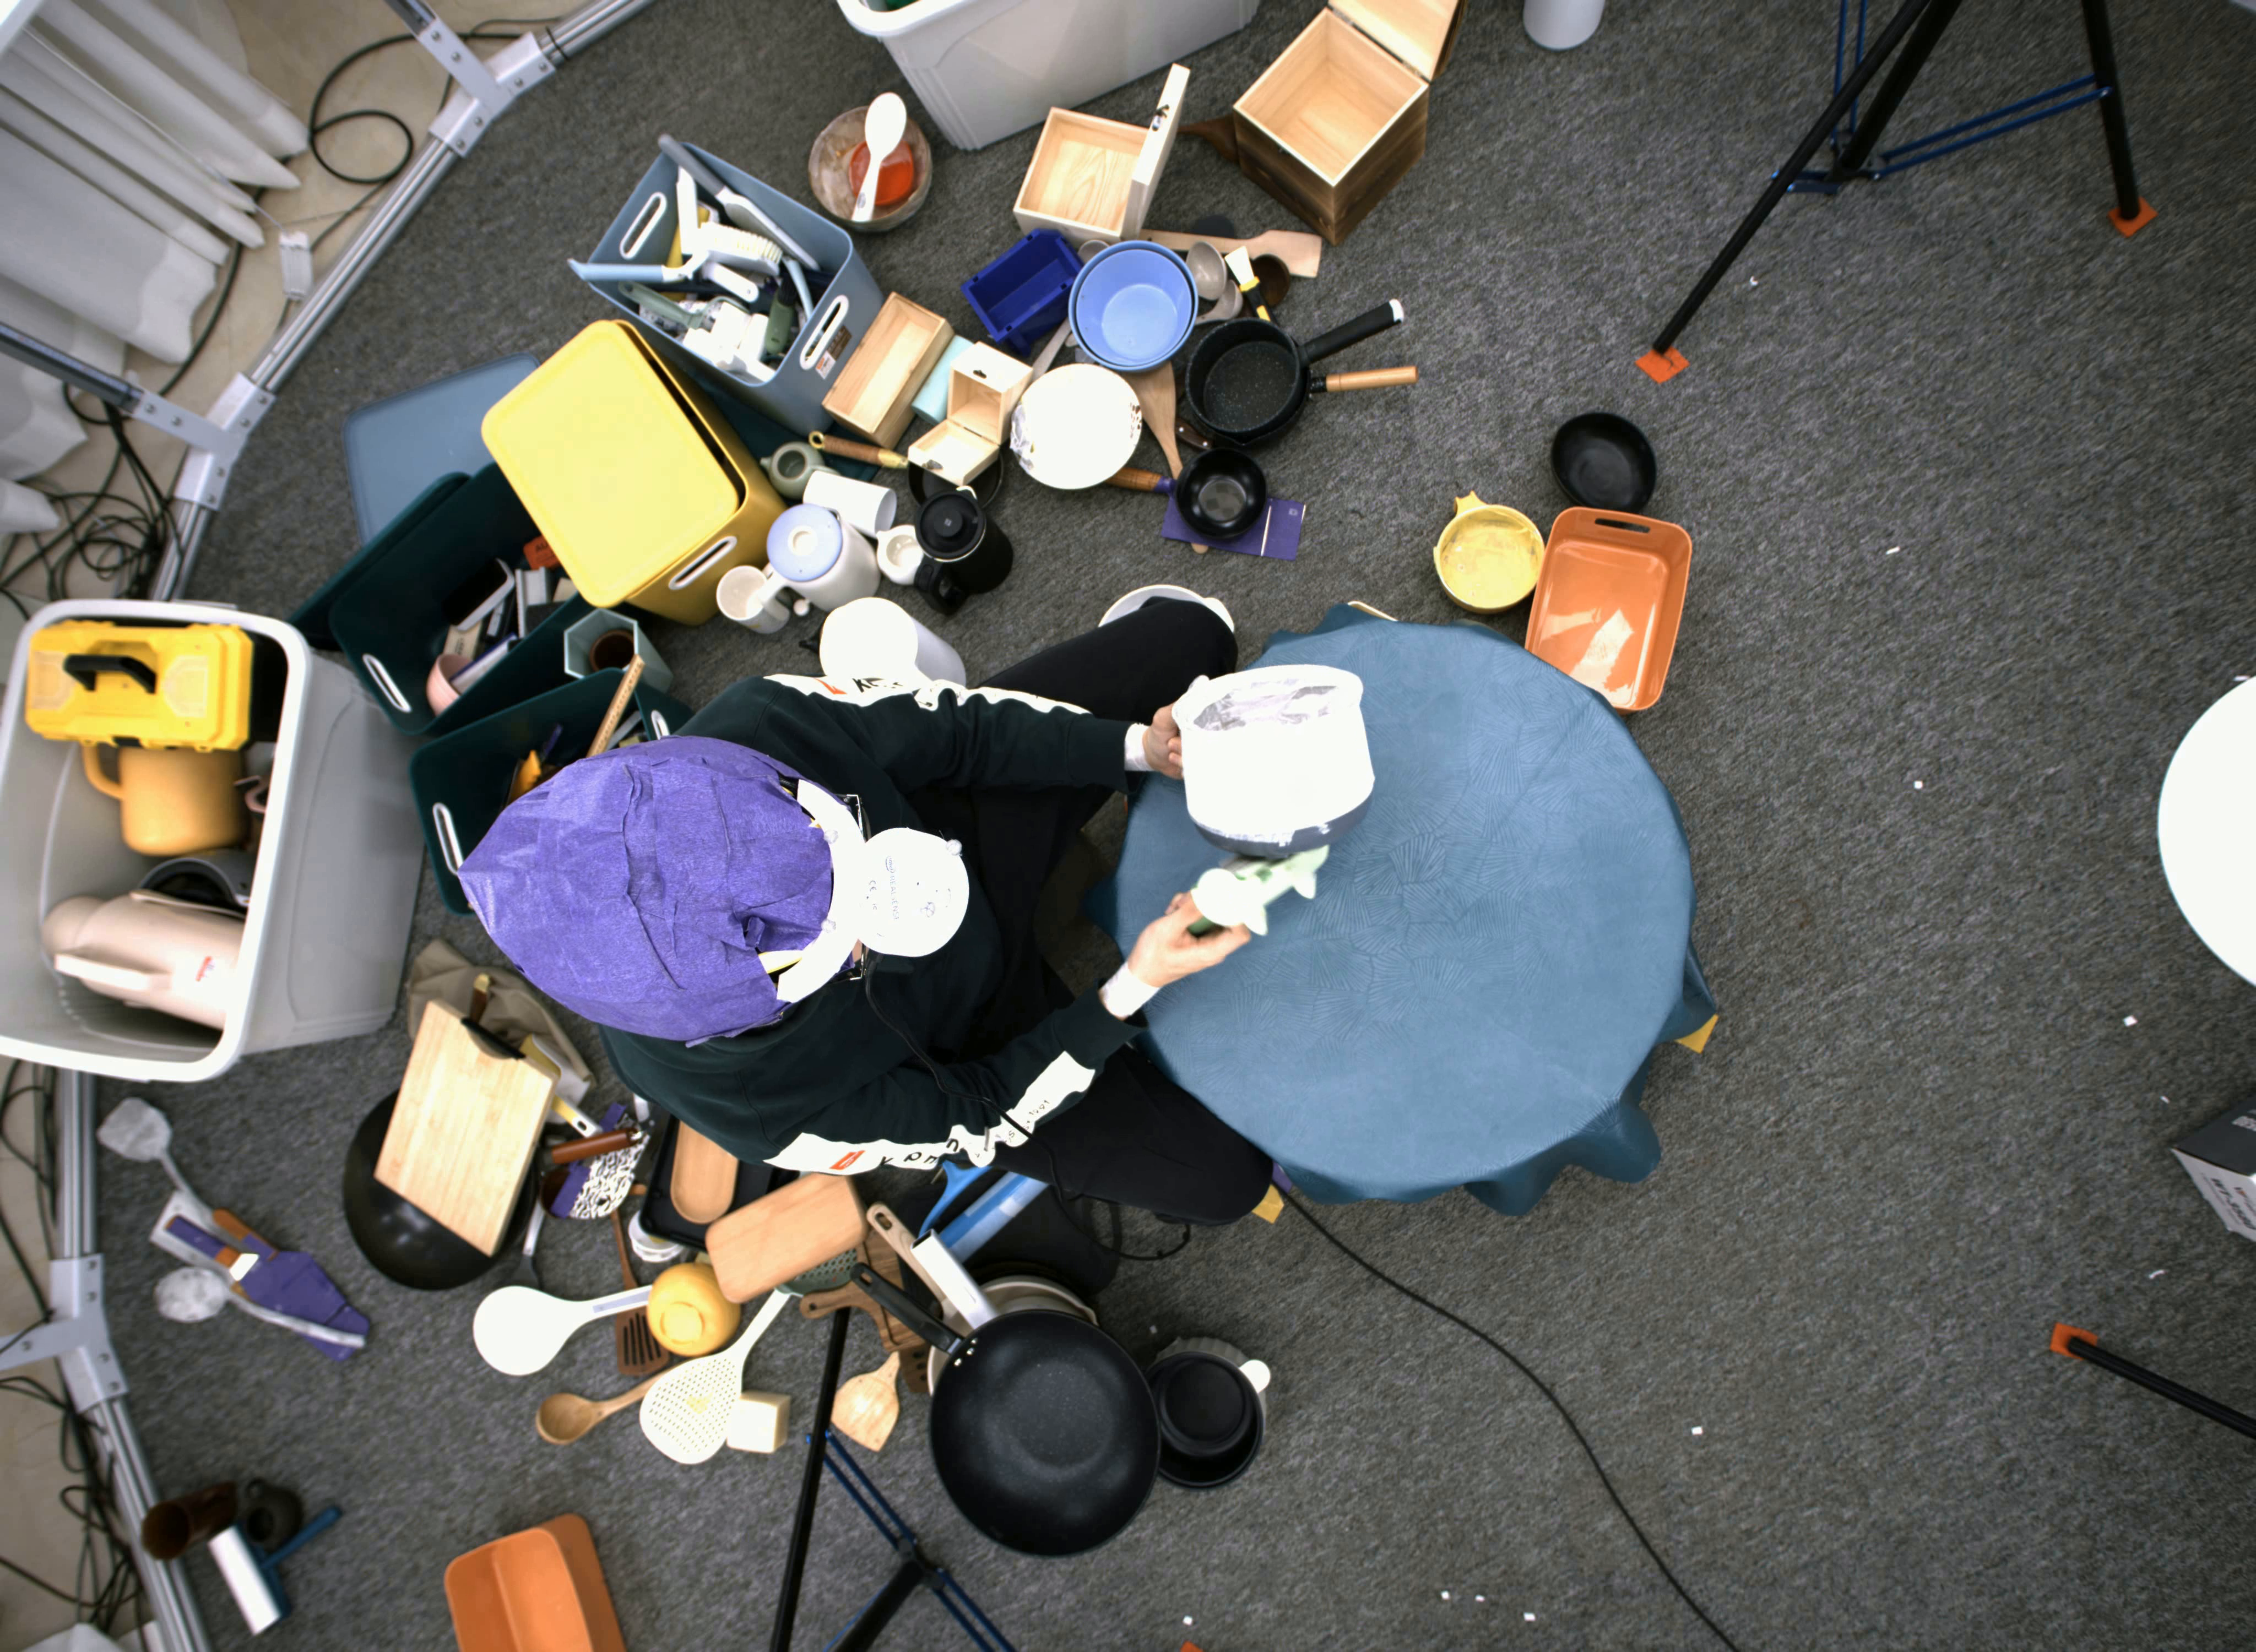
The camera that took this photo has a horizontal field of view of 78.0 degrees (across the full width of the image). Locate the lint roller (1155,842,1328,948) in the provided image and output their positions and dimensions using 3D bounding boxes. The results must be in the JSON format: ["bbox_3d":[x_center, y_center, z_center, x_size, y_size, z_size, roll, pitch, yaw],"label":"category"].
[{"bbox_3d":[0.105,0.083,1.342,0.082,0.195,0.187,48,124,8],"label":"lint roller"}]

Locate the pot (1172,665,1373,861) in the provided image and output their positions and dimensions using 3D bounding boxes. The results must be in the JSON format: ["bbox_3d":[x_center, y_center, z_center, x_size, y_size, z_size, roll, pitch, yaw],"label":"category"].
[{"bbox_3d":[0.122,-0.068,1.309,0.176,0.232,0.139,-24,119,-27],"label":"pot"}]
